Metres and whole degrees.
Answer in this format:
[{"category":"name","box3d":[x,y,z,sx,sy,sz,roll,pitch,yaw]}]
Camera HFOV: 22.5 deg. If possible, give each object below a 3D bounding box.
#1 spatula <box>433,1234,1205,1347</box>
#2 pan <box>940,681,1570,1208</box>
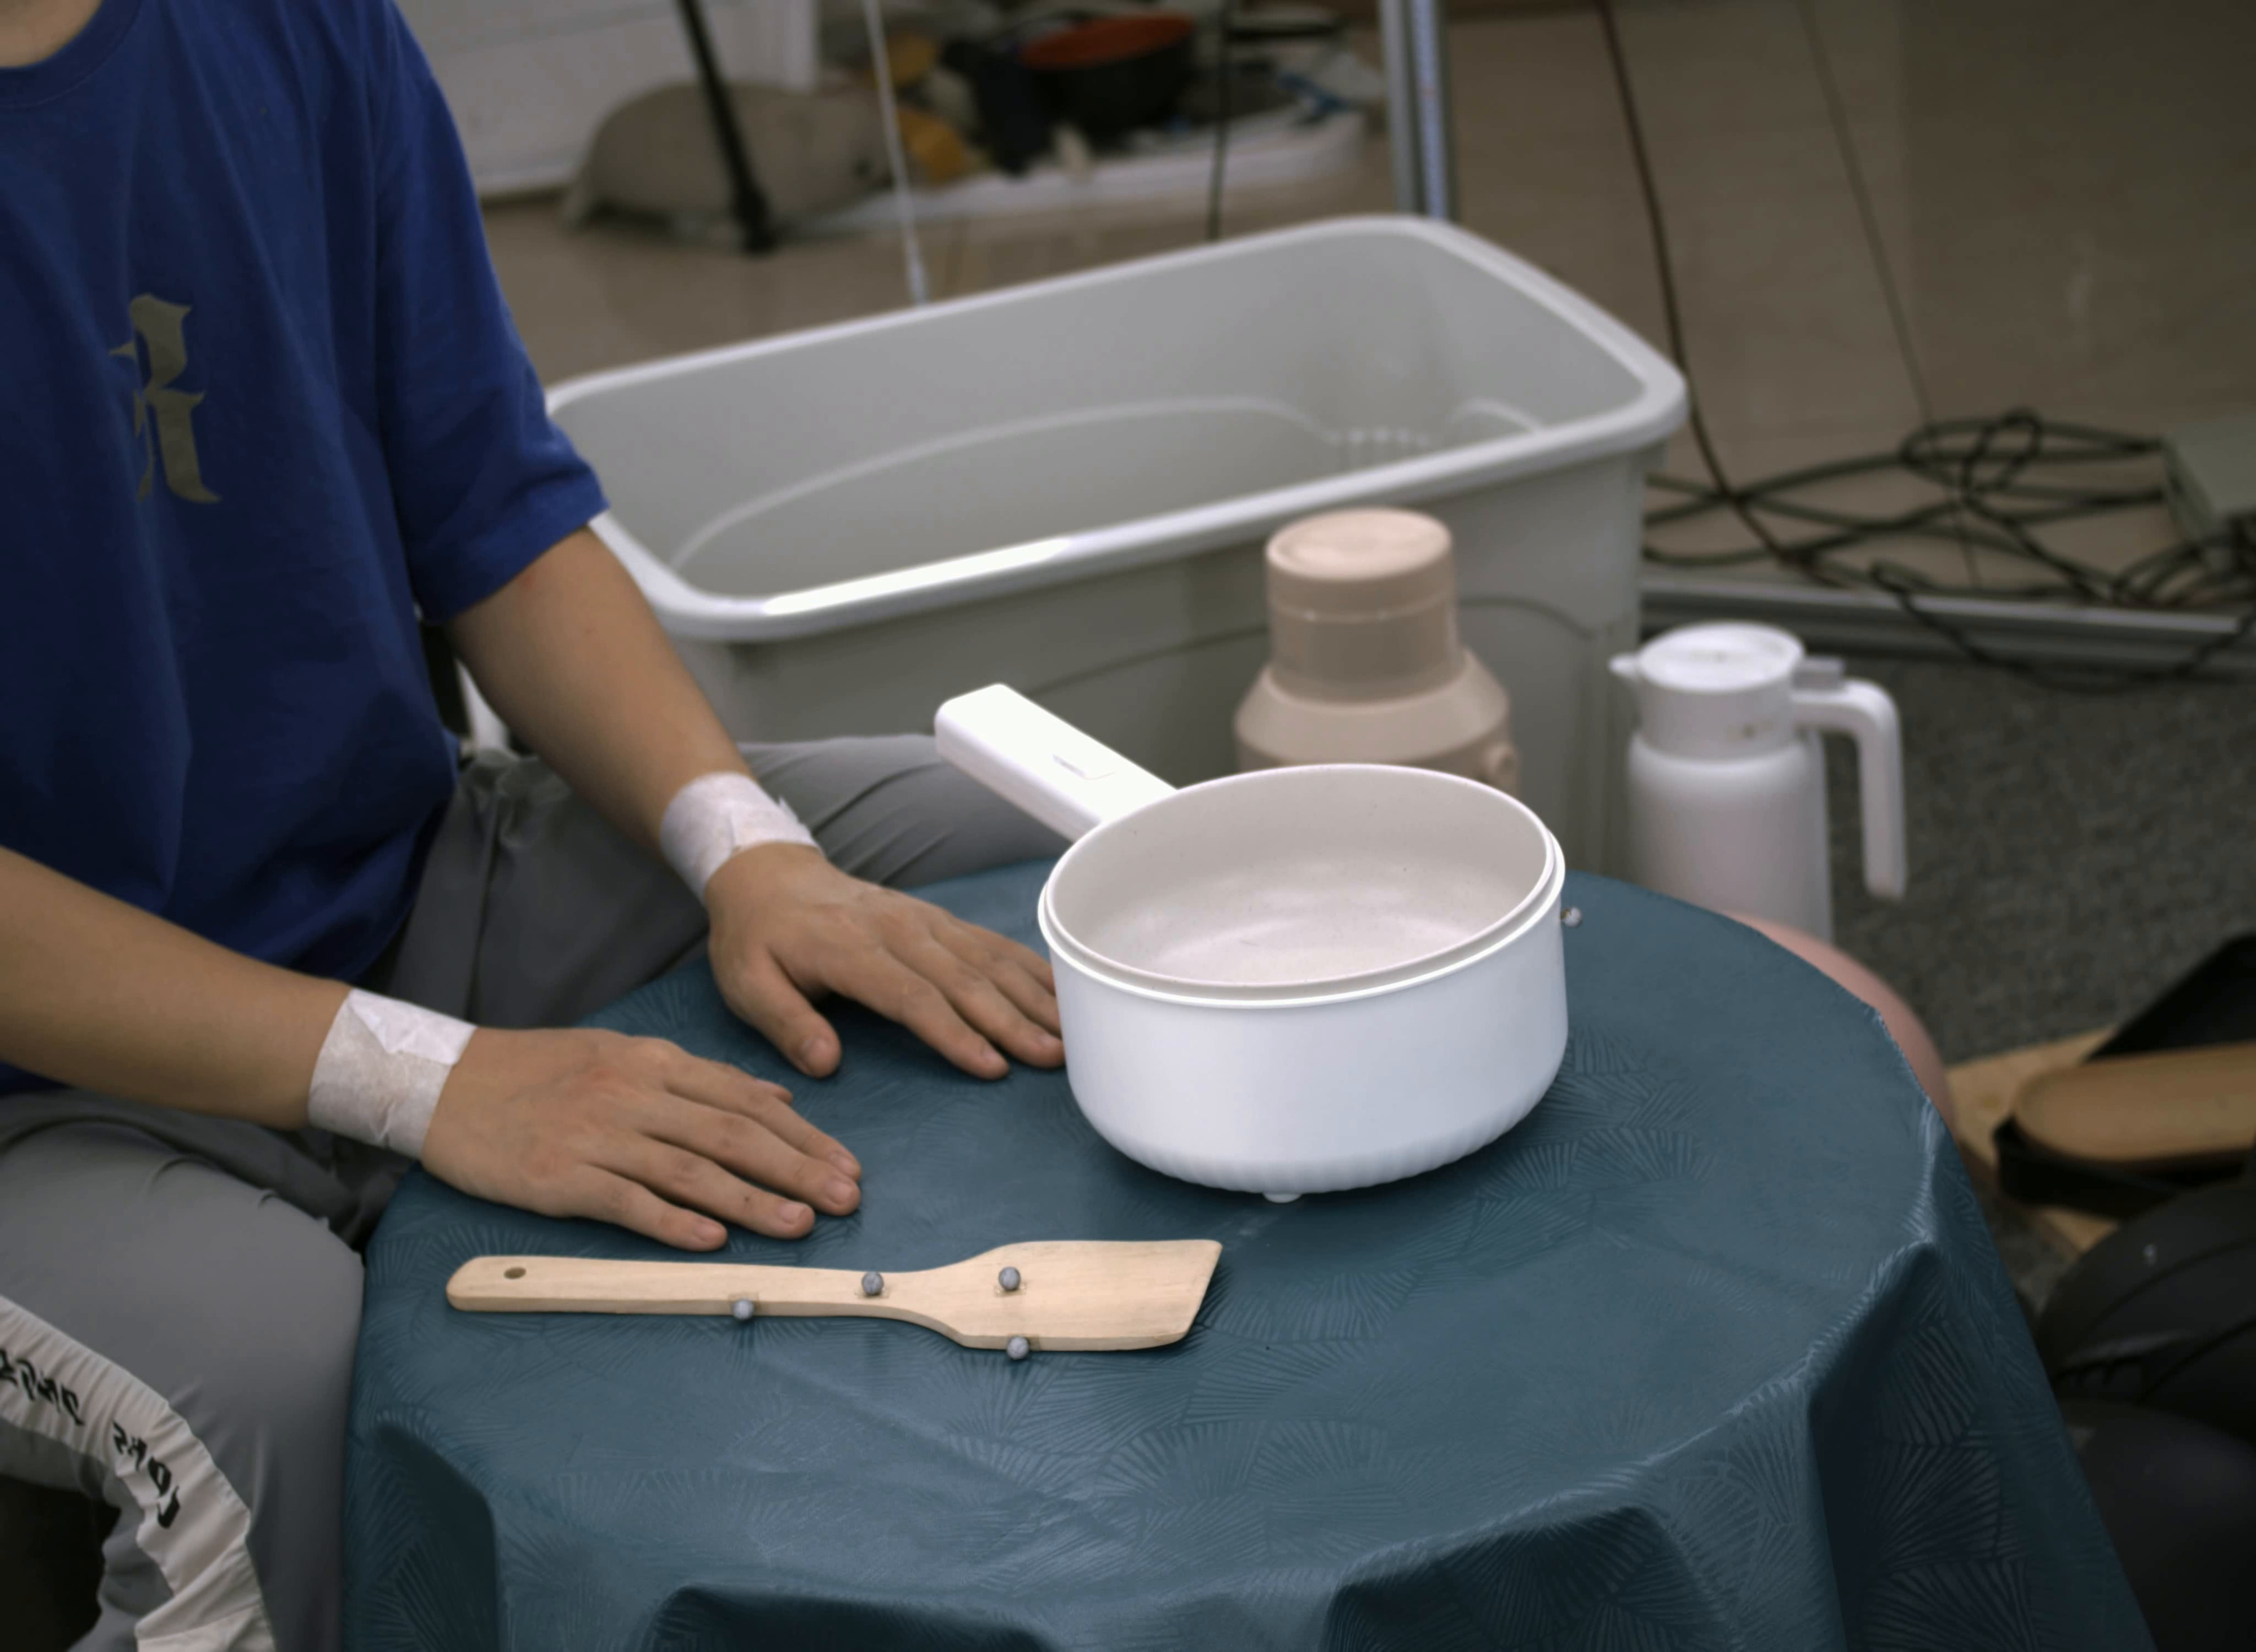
[{"category":"spatula","box3d":[-0.119,0.169,2.096,0.292,0.011,0.071,0,28,14]},{"category":"pan","box3d":[0.031,0.040,2.235,0.200,0.104,0.351,-22,29,-25]}]
